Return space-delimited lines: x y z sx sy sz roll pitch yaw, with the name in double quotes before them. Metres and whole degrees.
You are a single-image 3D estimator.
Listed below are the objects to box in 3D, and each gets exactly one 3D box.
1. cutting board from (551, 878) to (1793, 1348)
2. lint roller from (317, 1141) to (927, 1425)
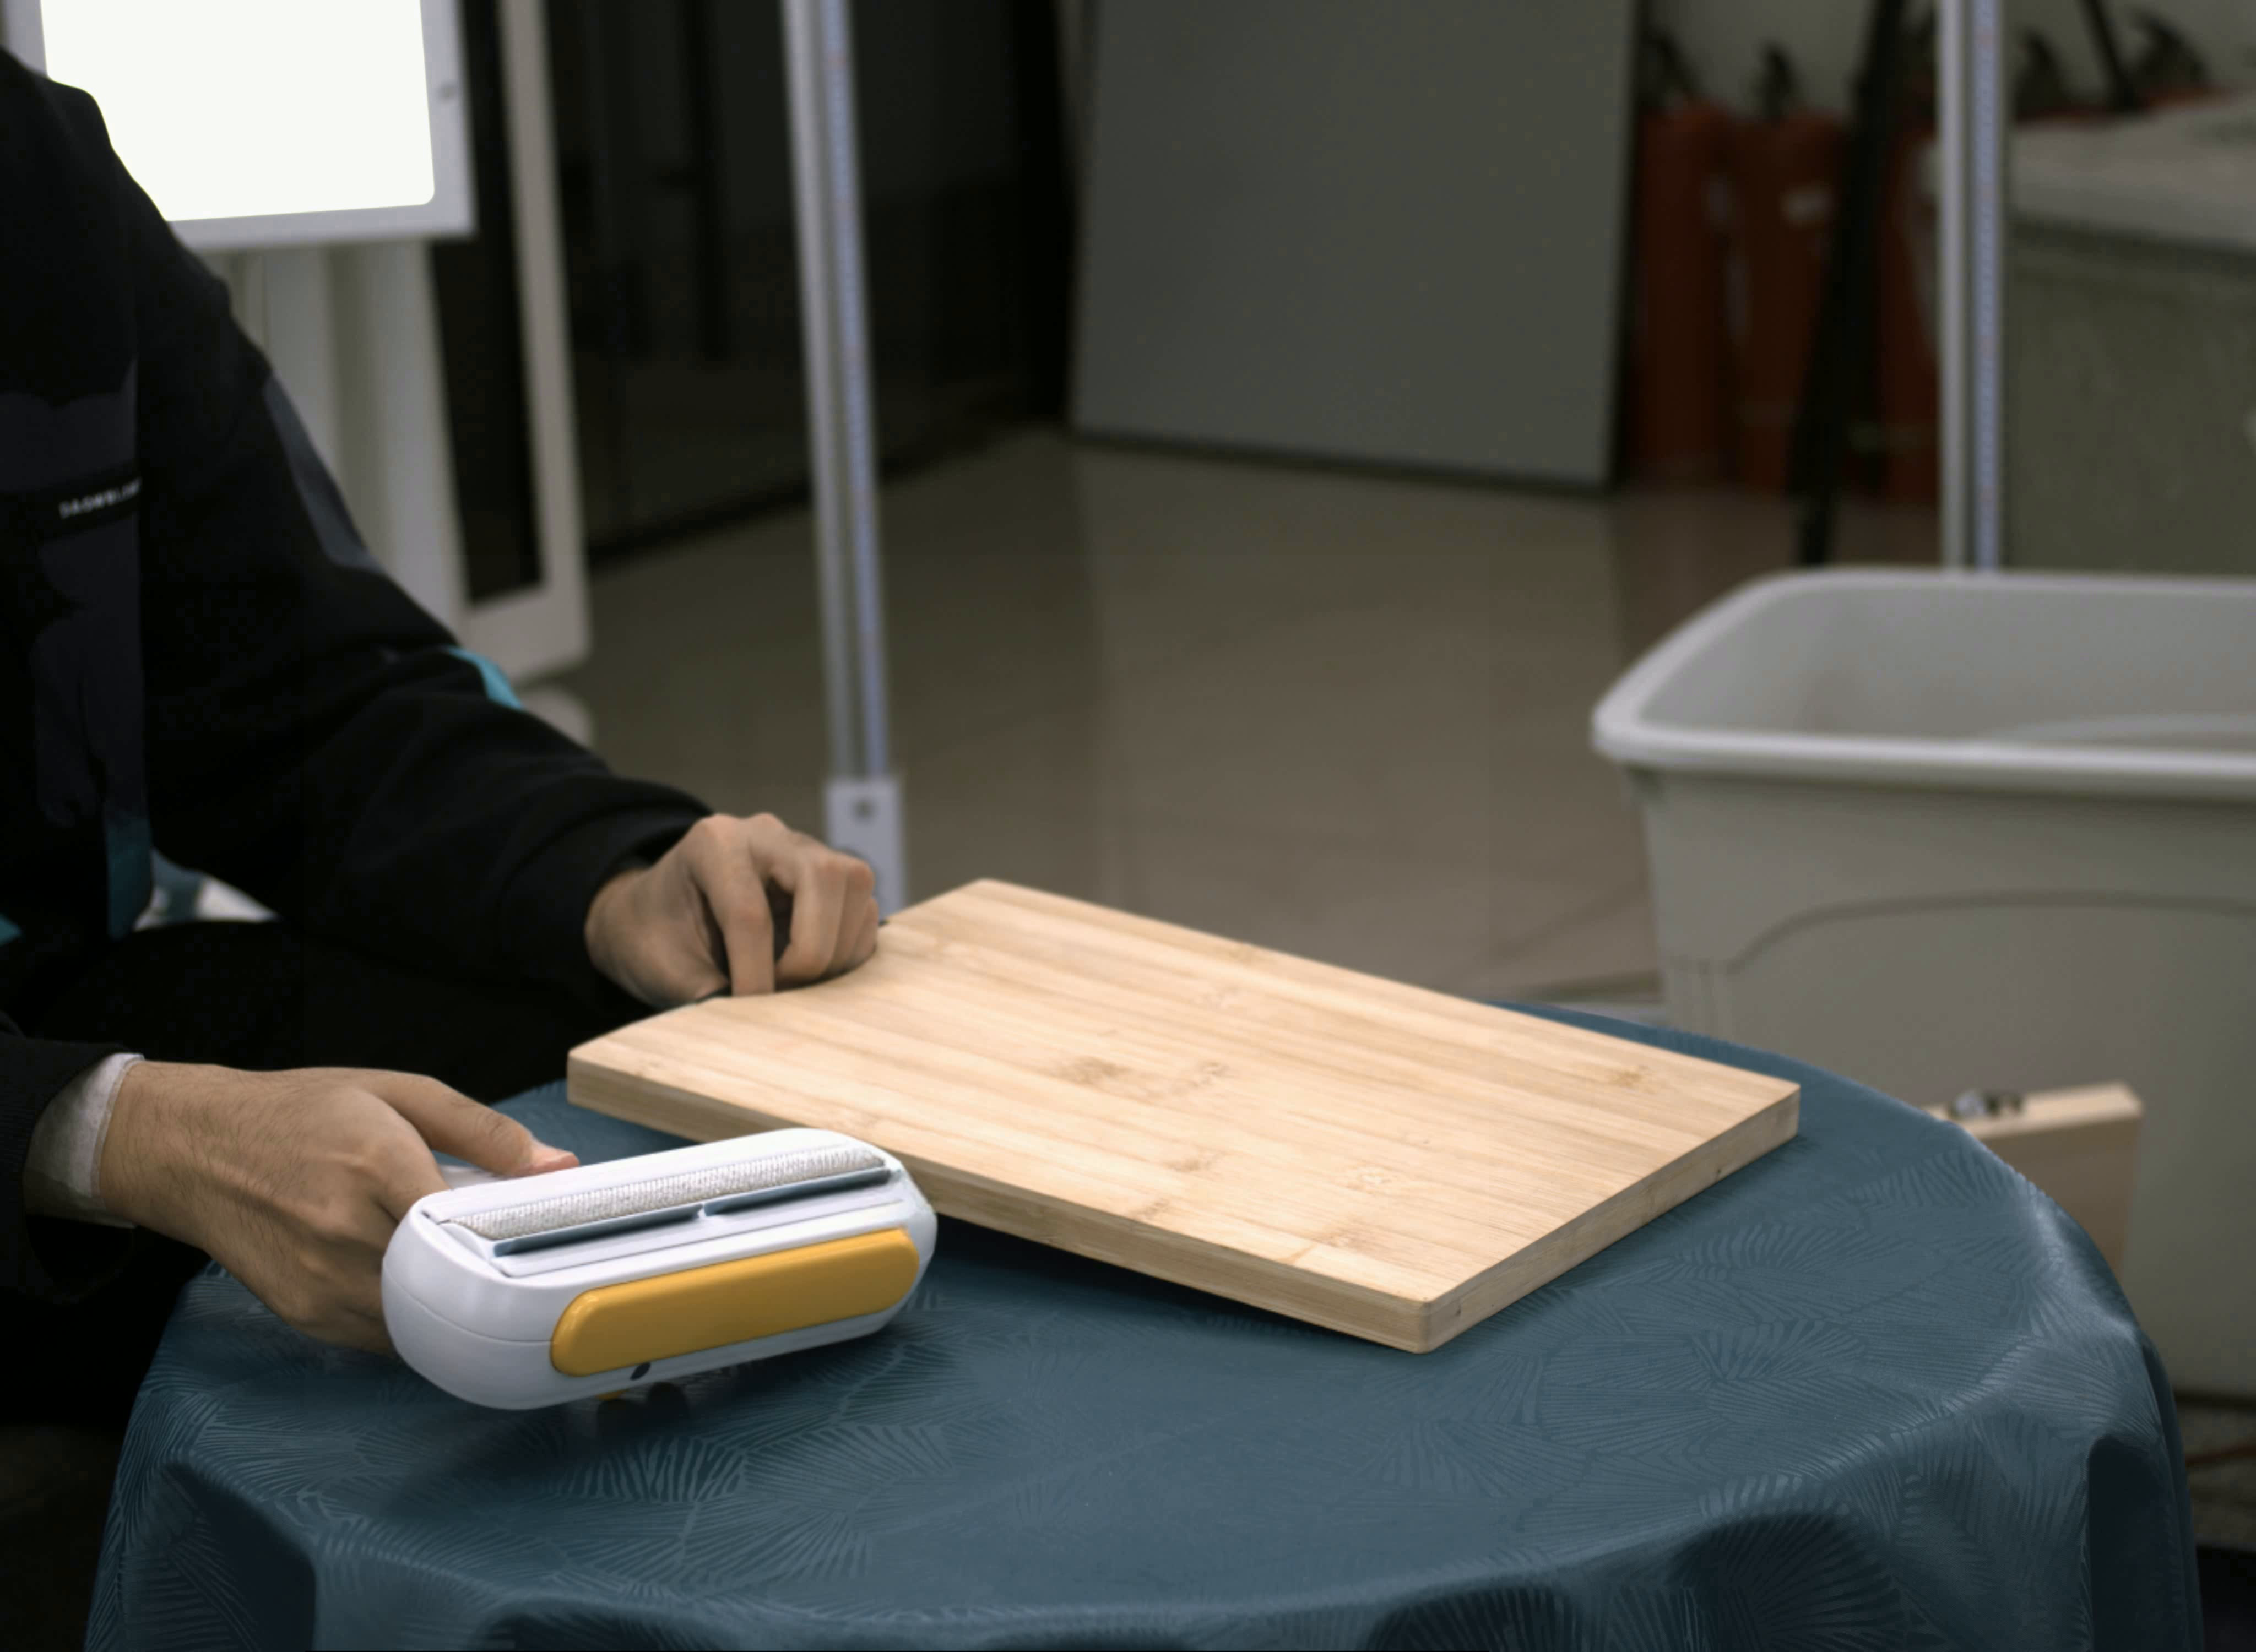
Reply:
"cutting board" 0.014 0.089 1.789 0.351 0.024 0.246 13 21 33
"lint roller" -0.181 0.122 1.642 0.188 0.075 0.194 -10 22 -41
